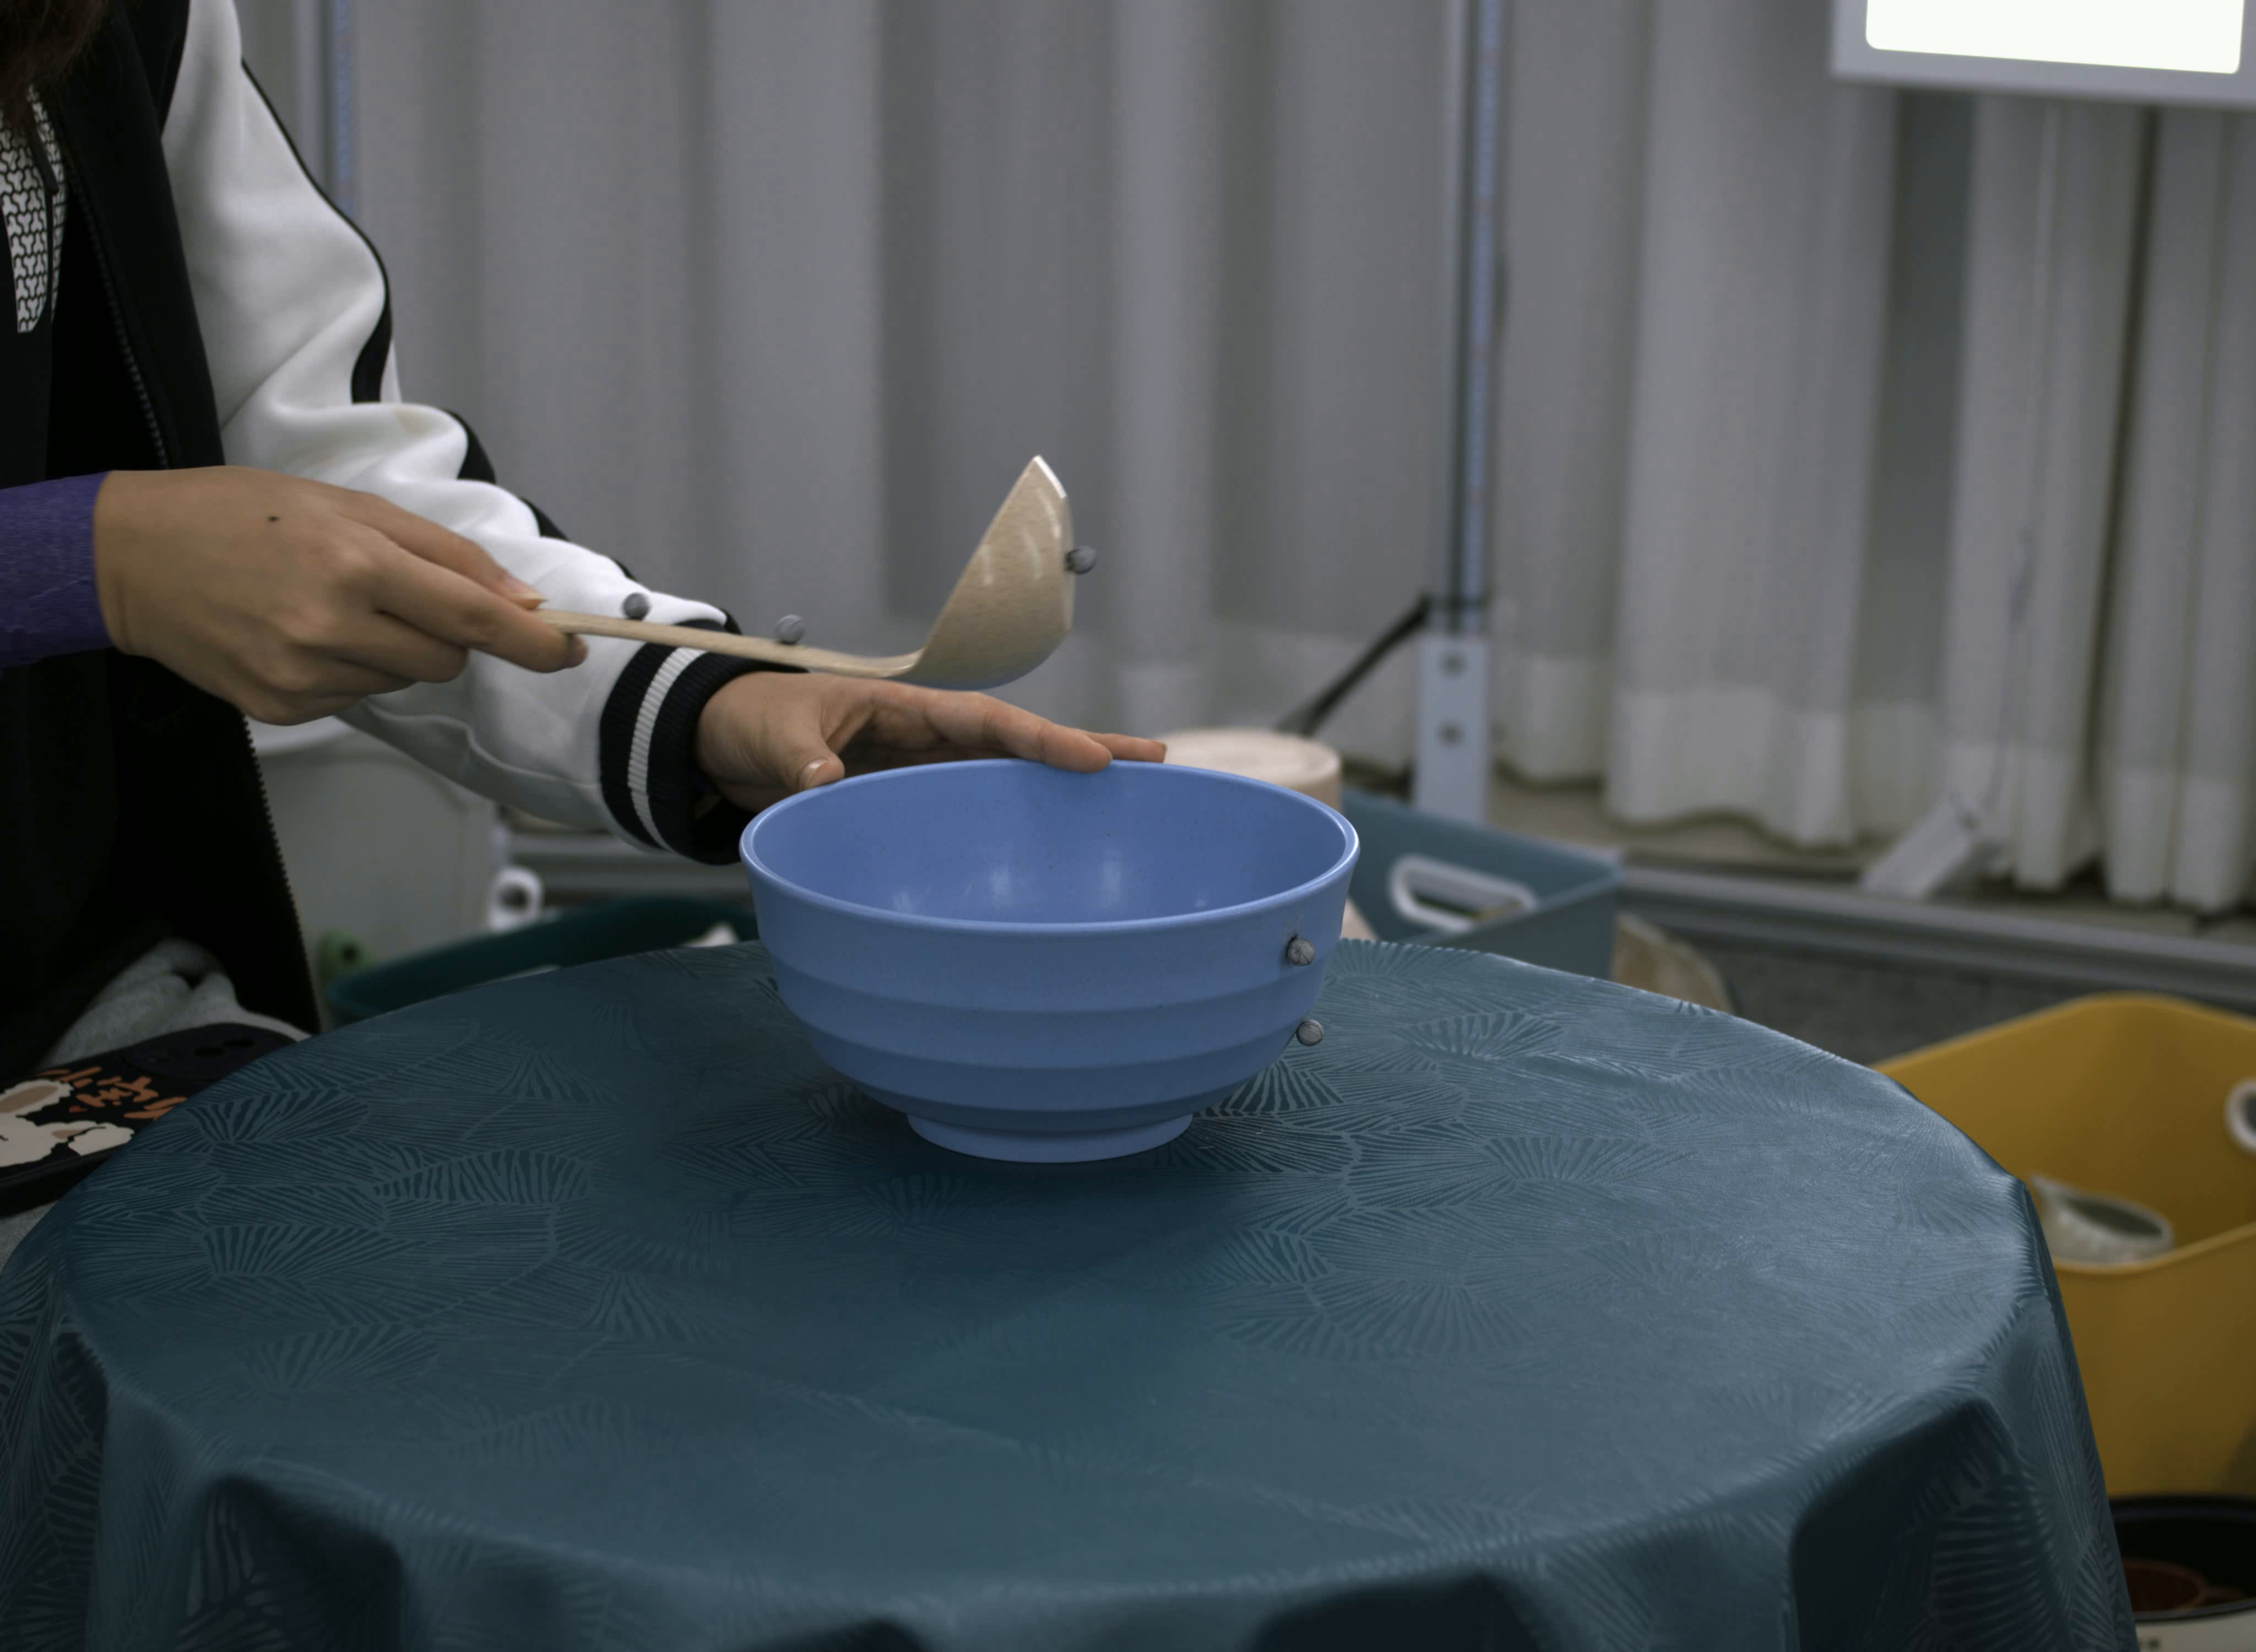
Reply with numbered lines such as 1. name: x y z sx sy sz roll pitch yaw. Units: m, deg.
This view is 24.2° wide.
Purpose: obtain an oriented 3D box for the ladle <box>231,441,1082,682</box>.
1. ladle: -0.140 -0.085 1.564 0.253 0.073 0.072 4 12 1

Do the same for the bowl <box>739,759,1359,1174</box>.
1. bowl: -0.024 0.051 1.676 0.196 0.096 0.195 -1 17 1
